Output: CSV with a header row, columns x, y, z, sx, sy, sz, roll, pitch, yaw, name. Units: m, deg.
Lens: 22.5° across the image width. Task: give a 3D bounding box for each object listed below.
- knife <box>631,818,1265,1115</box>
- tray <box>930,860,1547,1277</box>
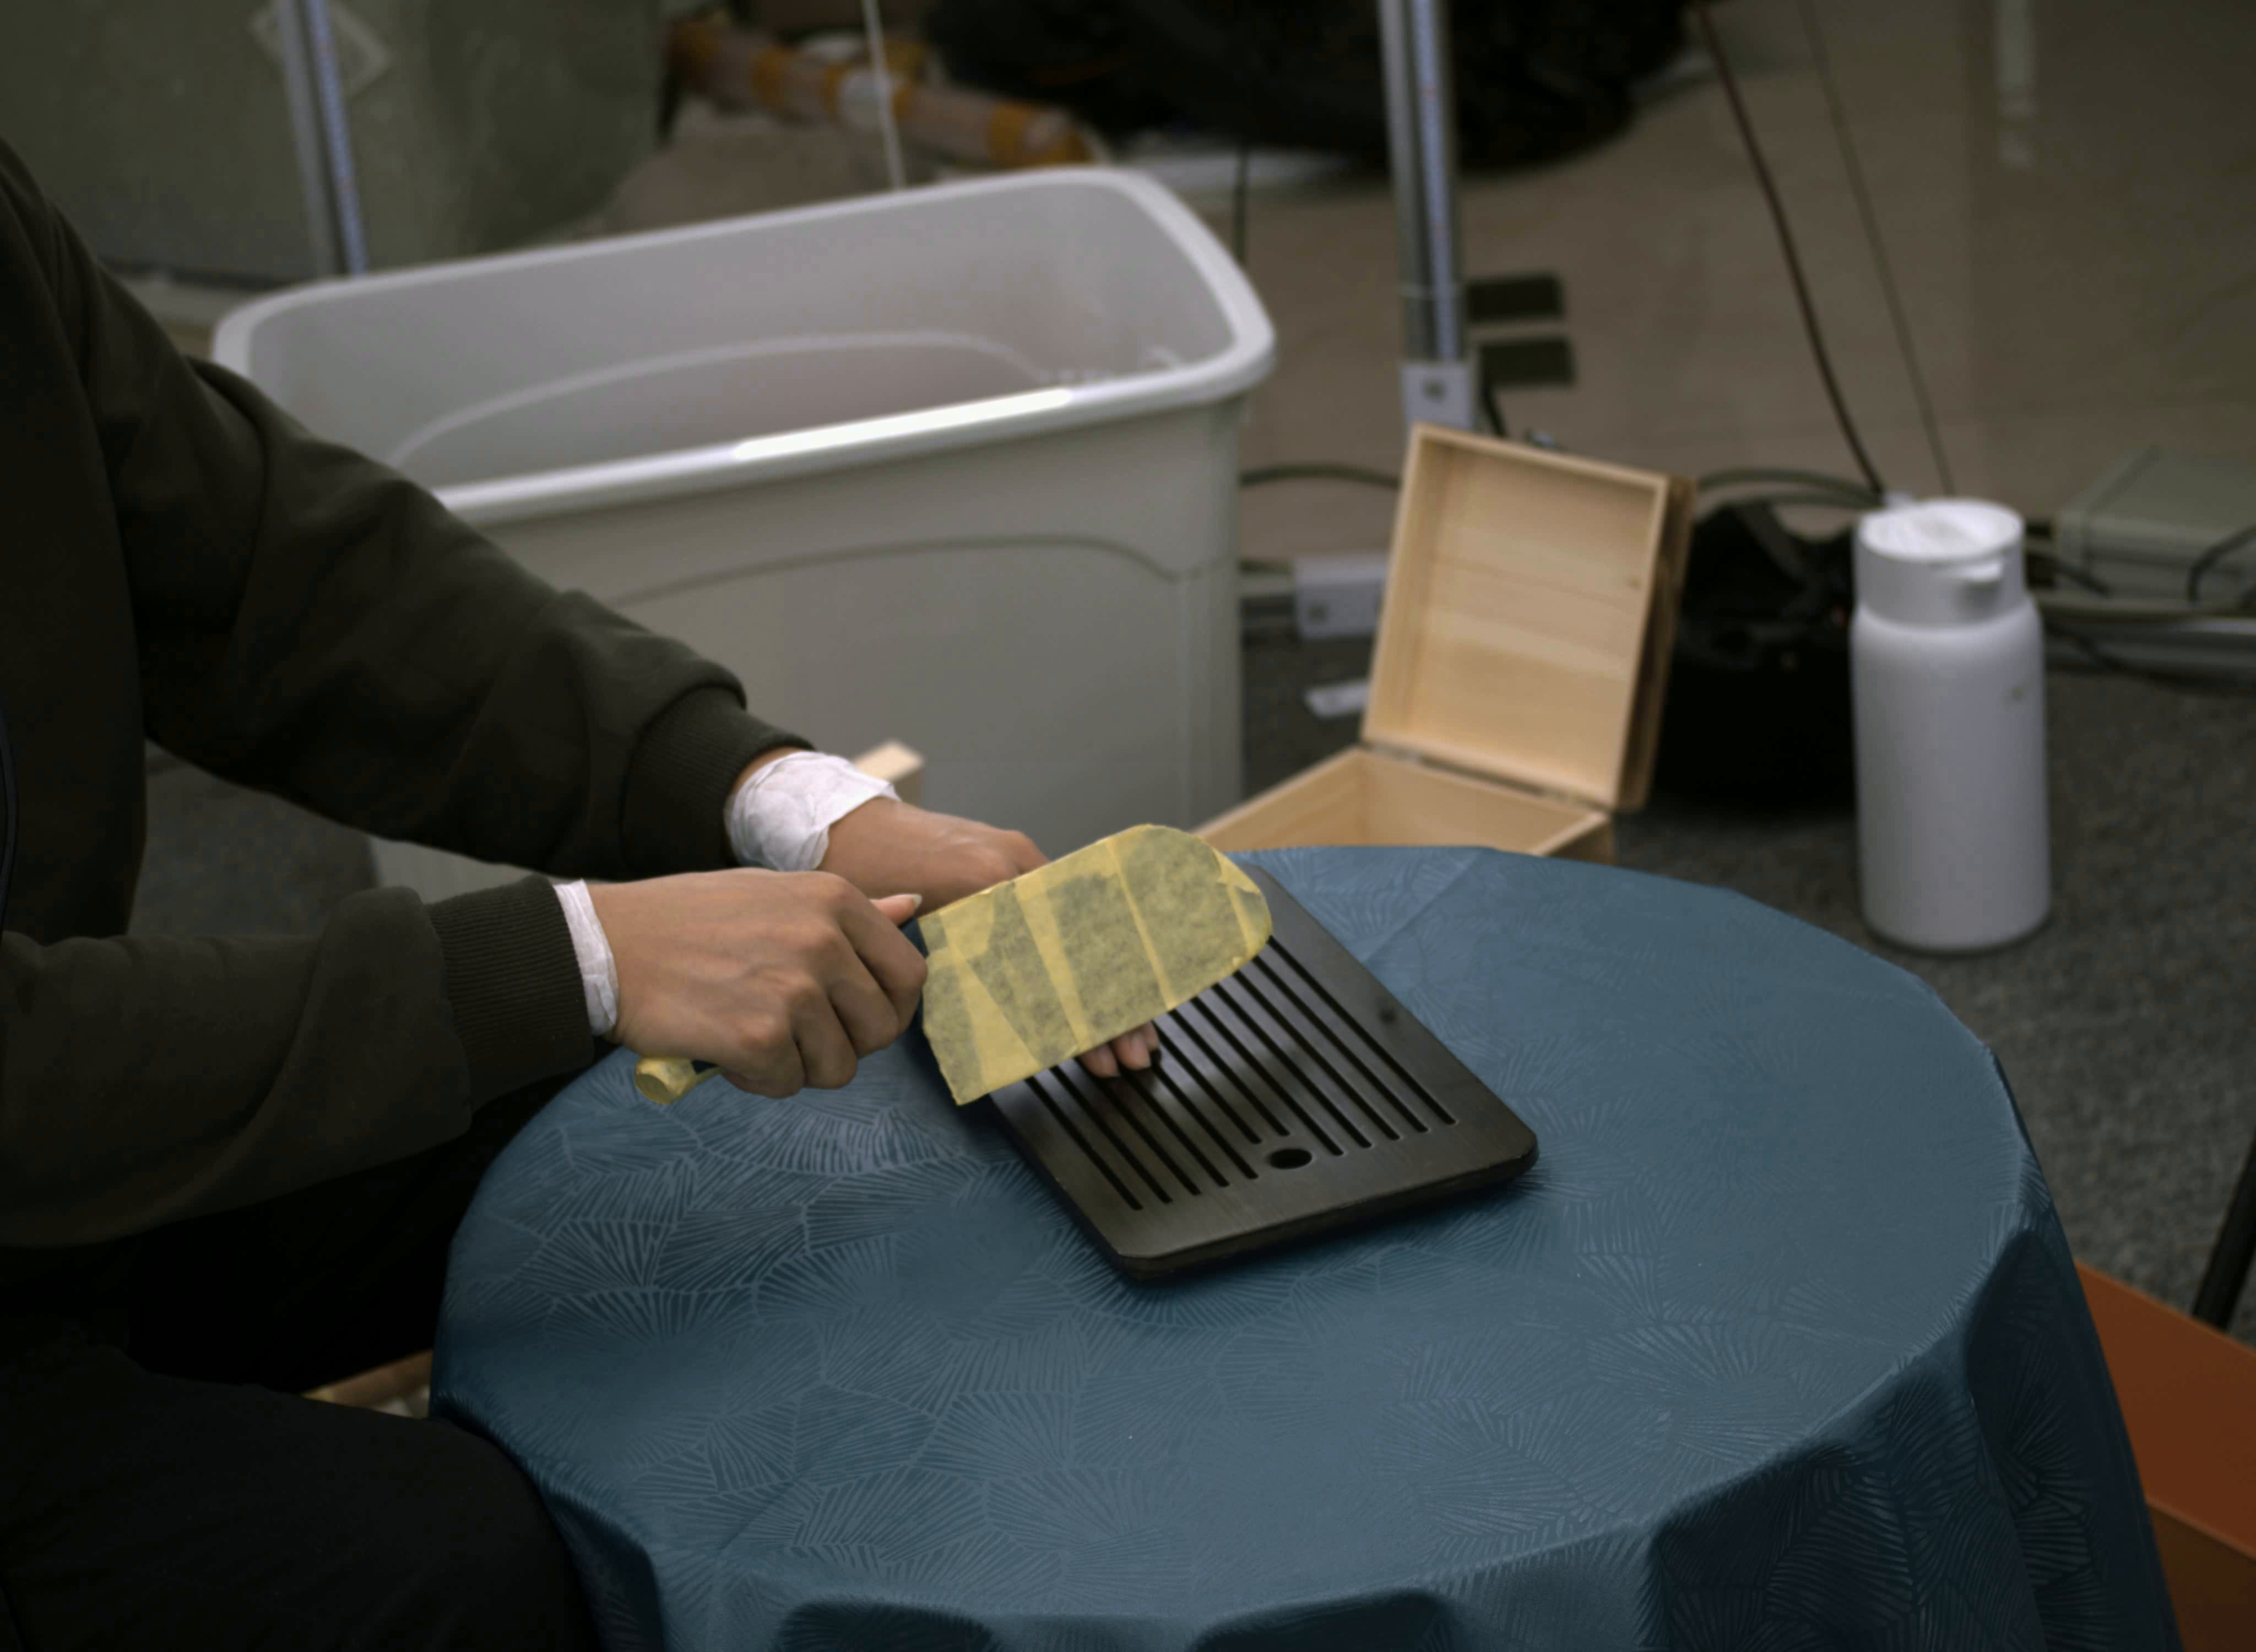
x,y,z,sx,sy,sz,roll,pitch,yaw,name
-0.062,0.064,2.164,0.288,0.081,0.027,-20,1,-31,knife
0.030,0.092,2.223,0.169,0.019,0.302,-15,26,-15,tray
